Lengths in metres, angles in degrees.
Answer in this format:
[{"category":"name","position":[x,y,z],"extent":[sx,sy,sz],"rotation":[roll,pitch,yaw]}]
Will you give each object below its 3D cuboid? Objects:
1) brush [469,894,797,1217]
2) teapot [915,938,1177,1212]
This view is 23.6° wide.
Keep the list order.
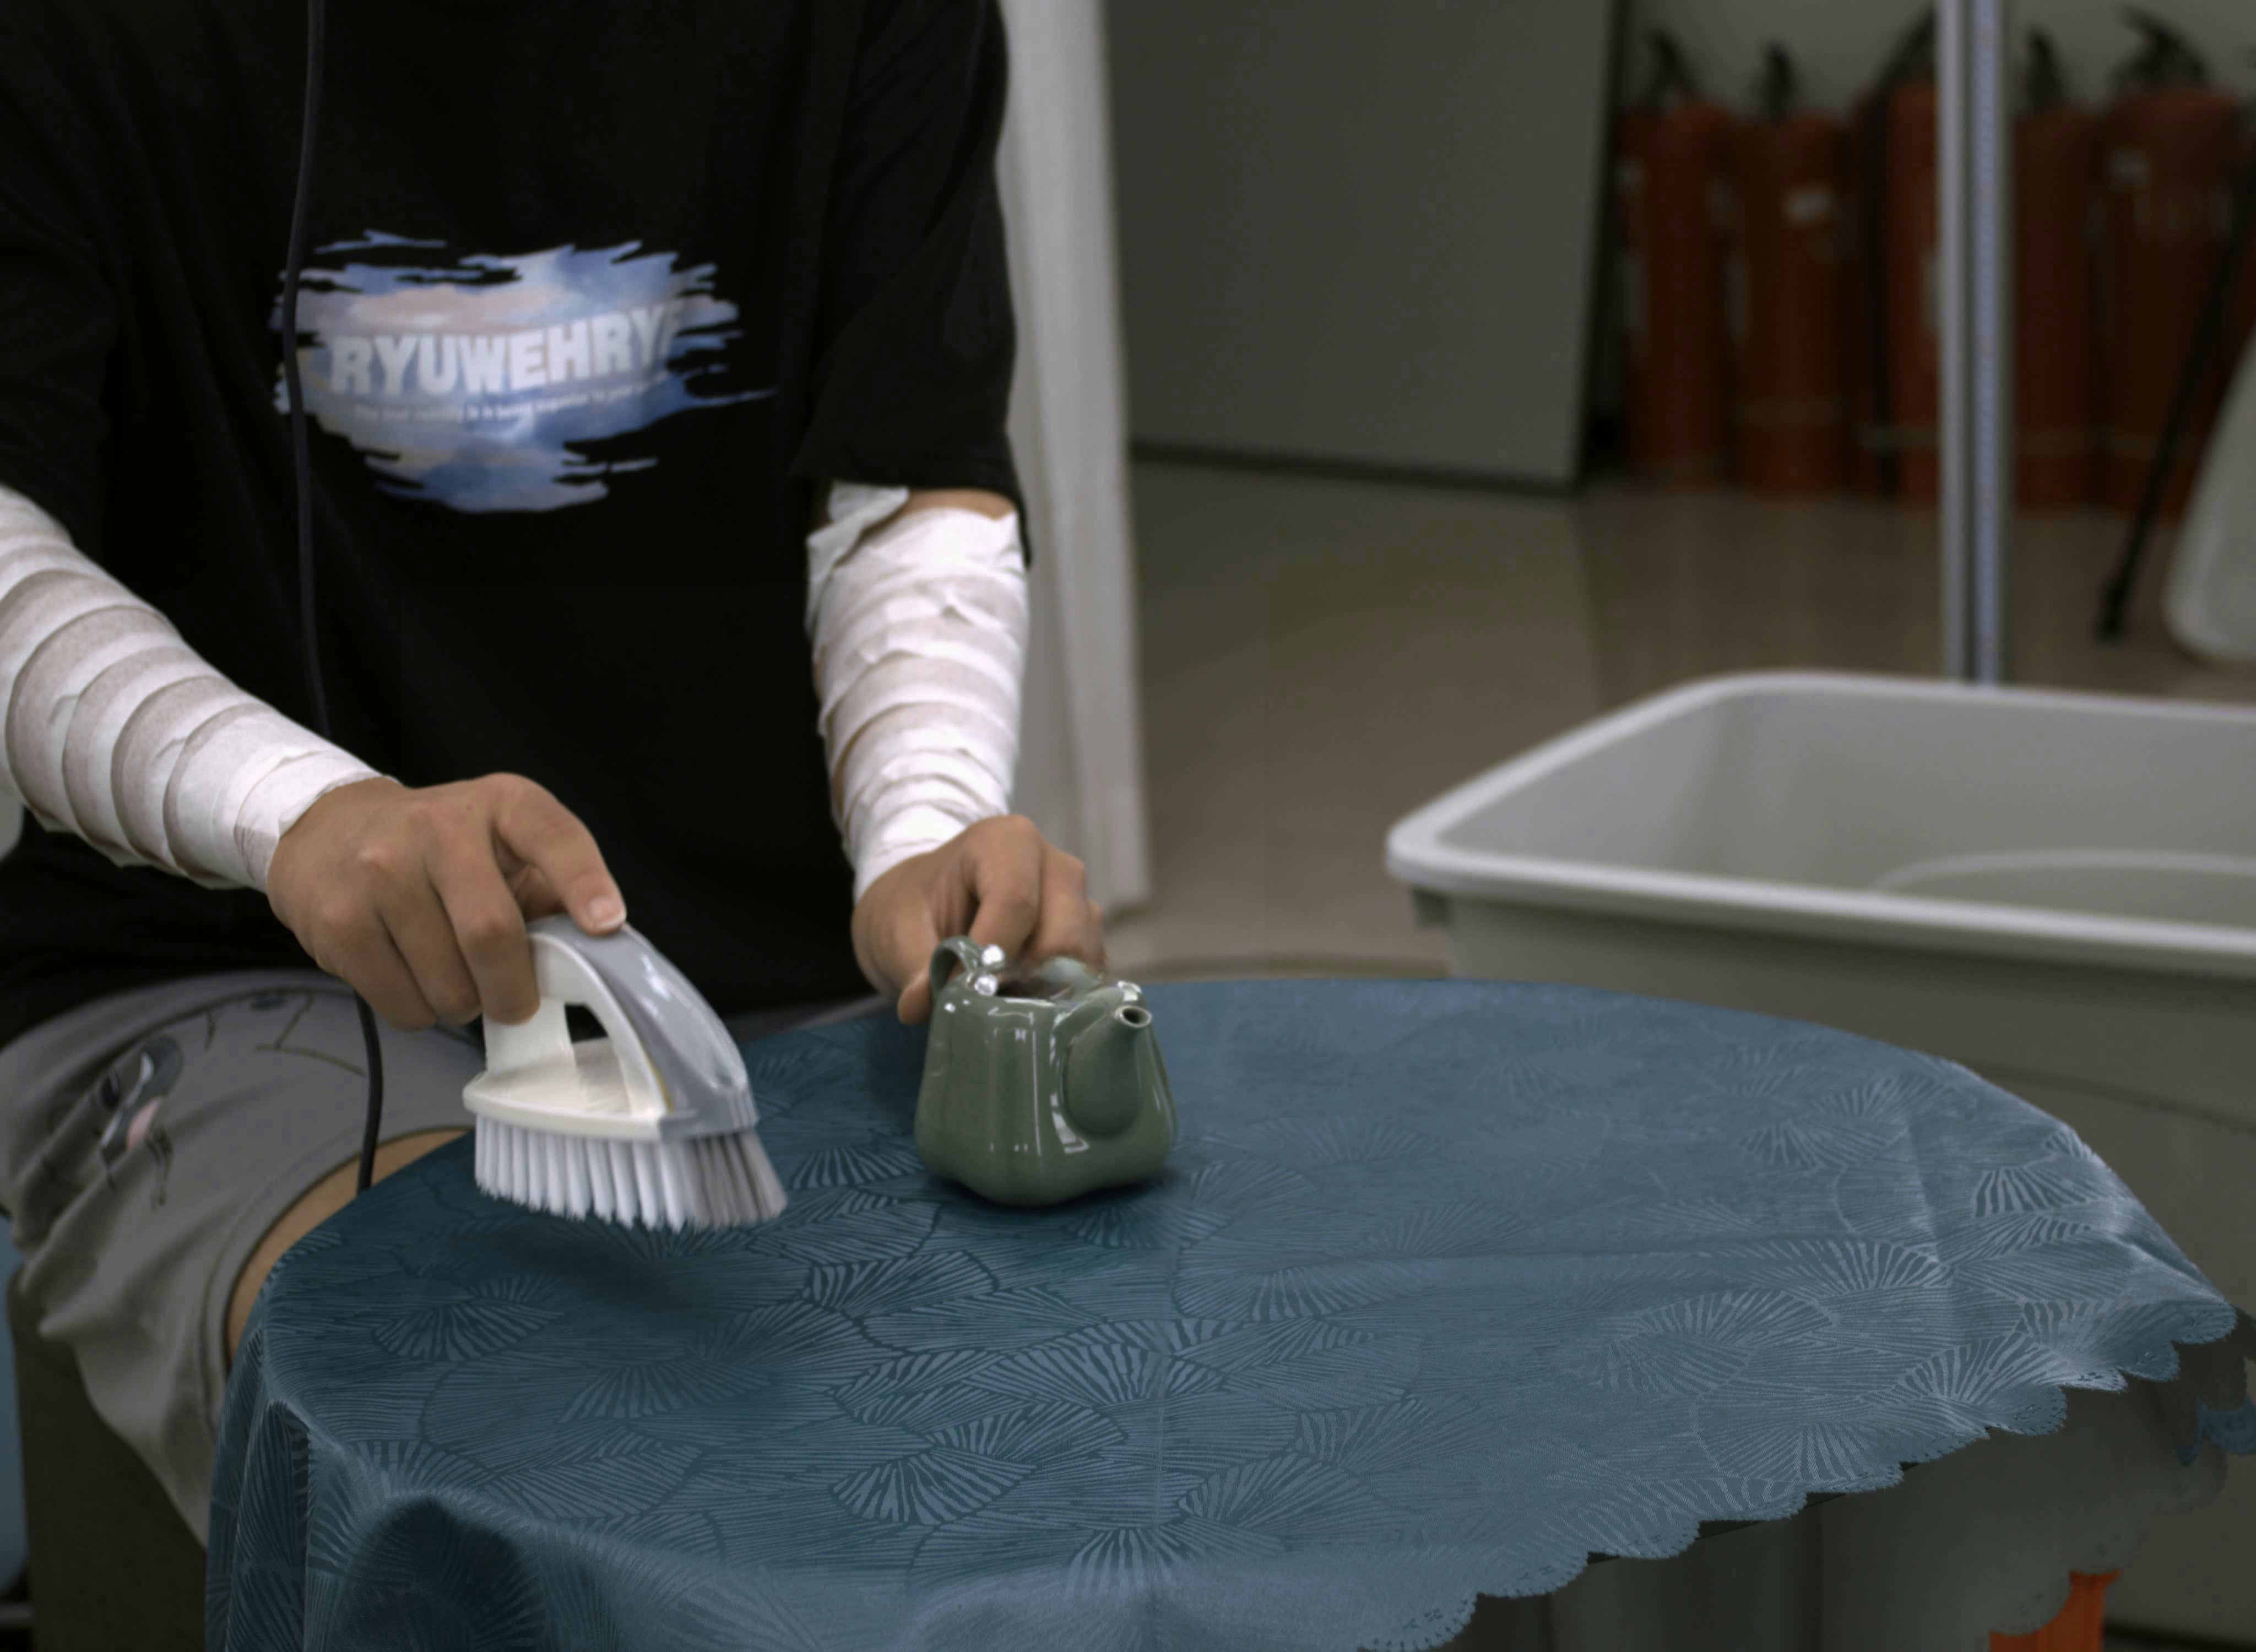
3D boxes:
[{"category":"brush","position":[-0.154,0.069,1.680],"extent":[0.060,0.095,0.177],"rotation":[-21,14,-26]},{"category":"teapot","position":[-0.028,0.083,1.786],"extent":[0.078,0.076,0.134],"rotation":[-8,12,-27]}]
